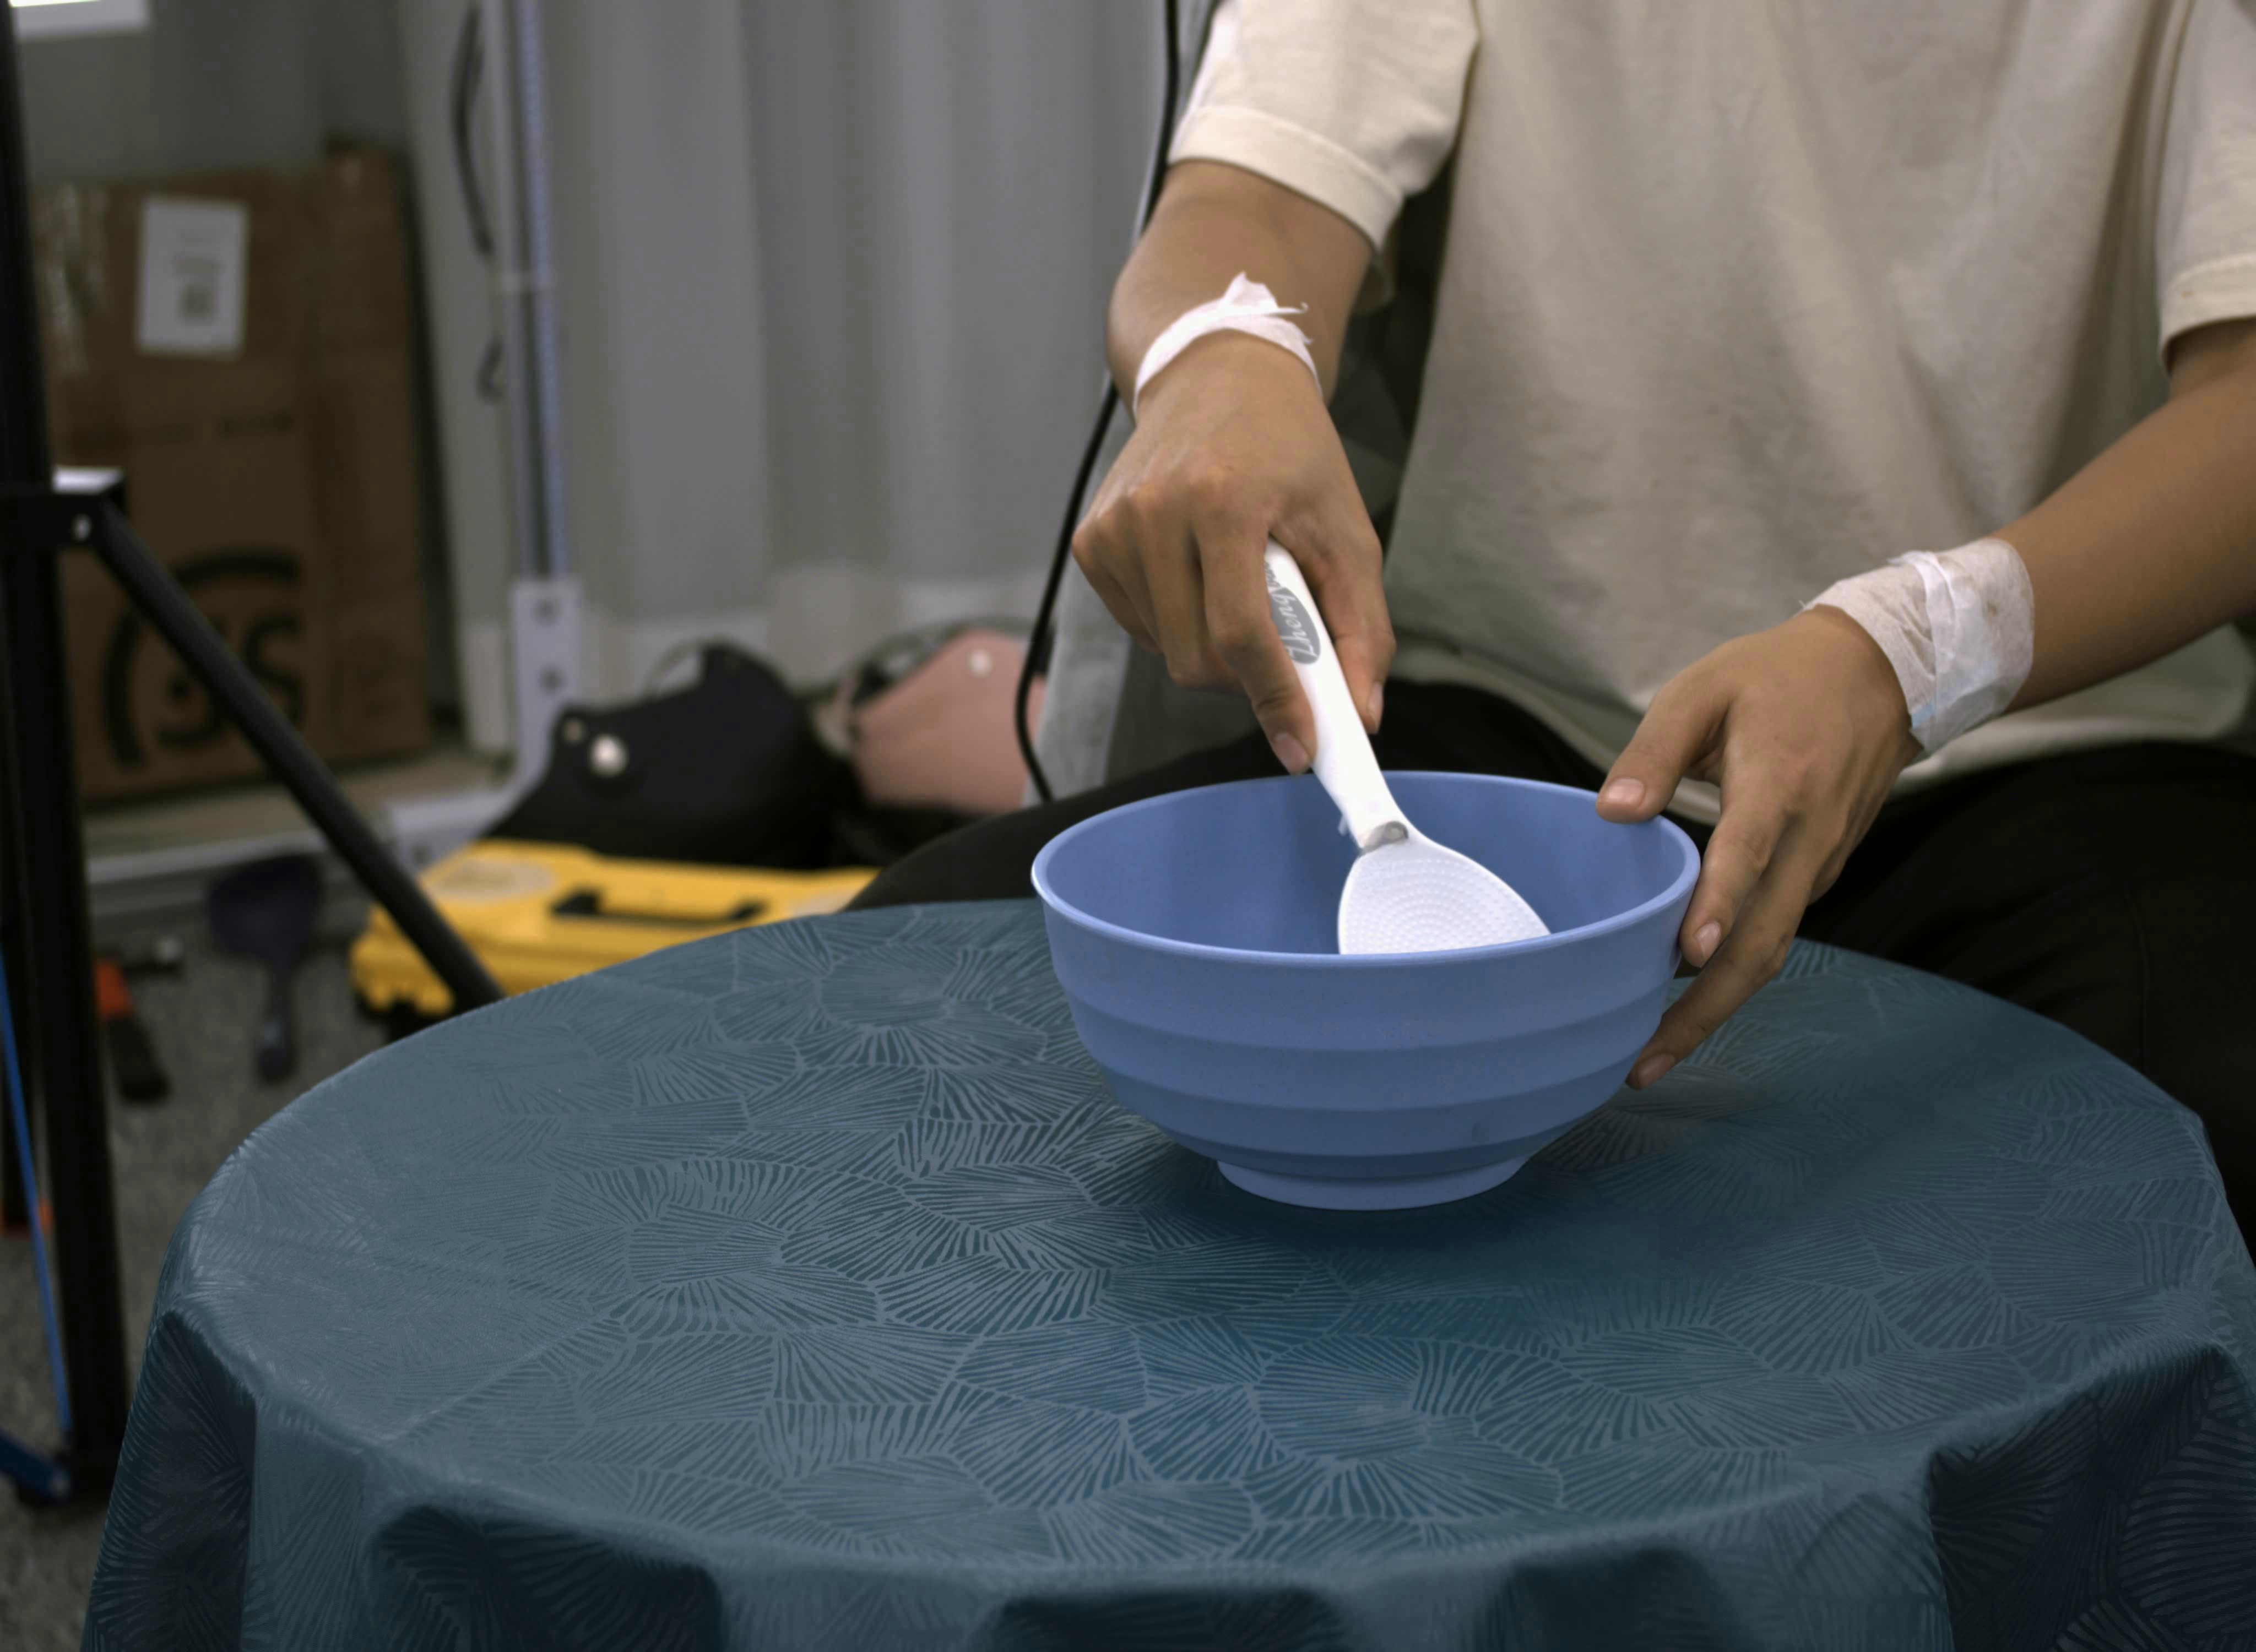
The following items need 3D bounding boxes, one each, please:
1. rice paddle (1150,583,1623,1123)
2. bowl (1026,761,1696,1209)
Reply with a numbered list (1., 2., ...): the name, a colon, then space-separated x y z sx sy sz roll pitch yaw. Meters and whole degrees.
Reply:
1. rice paddle: 0.079 0.009 1.611 0.067 0.029 0.208 -22 63 -35
2. bowl: 0.070 0.052 1.562 0.195 0.095 0.197 -4 17 0
